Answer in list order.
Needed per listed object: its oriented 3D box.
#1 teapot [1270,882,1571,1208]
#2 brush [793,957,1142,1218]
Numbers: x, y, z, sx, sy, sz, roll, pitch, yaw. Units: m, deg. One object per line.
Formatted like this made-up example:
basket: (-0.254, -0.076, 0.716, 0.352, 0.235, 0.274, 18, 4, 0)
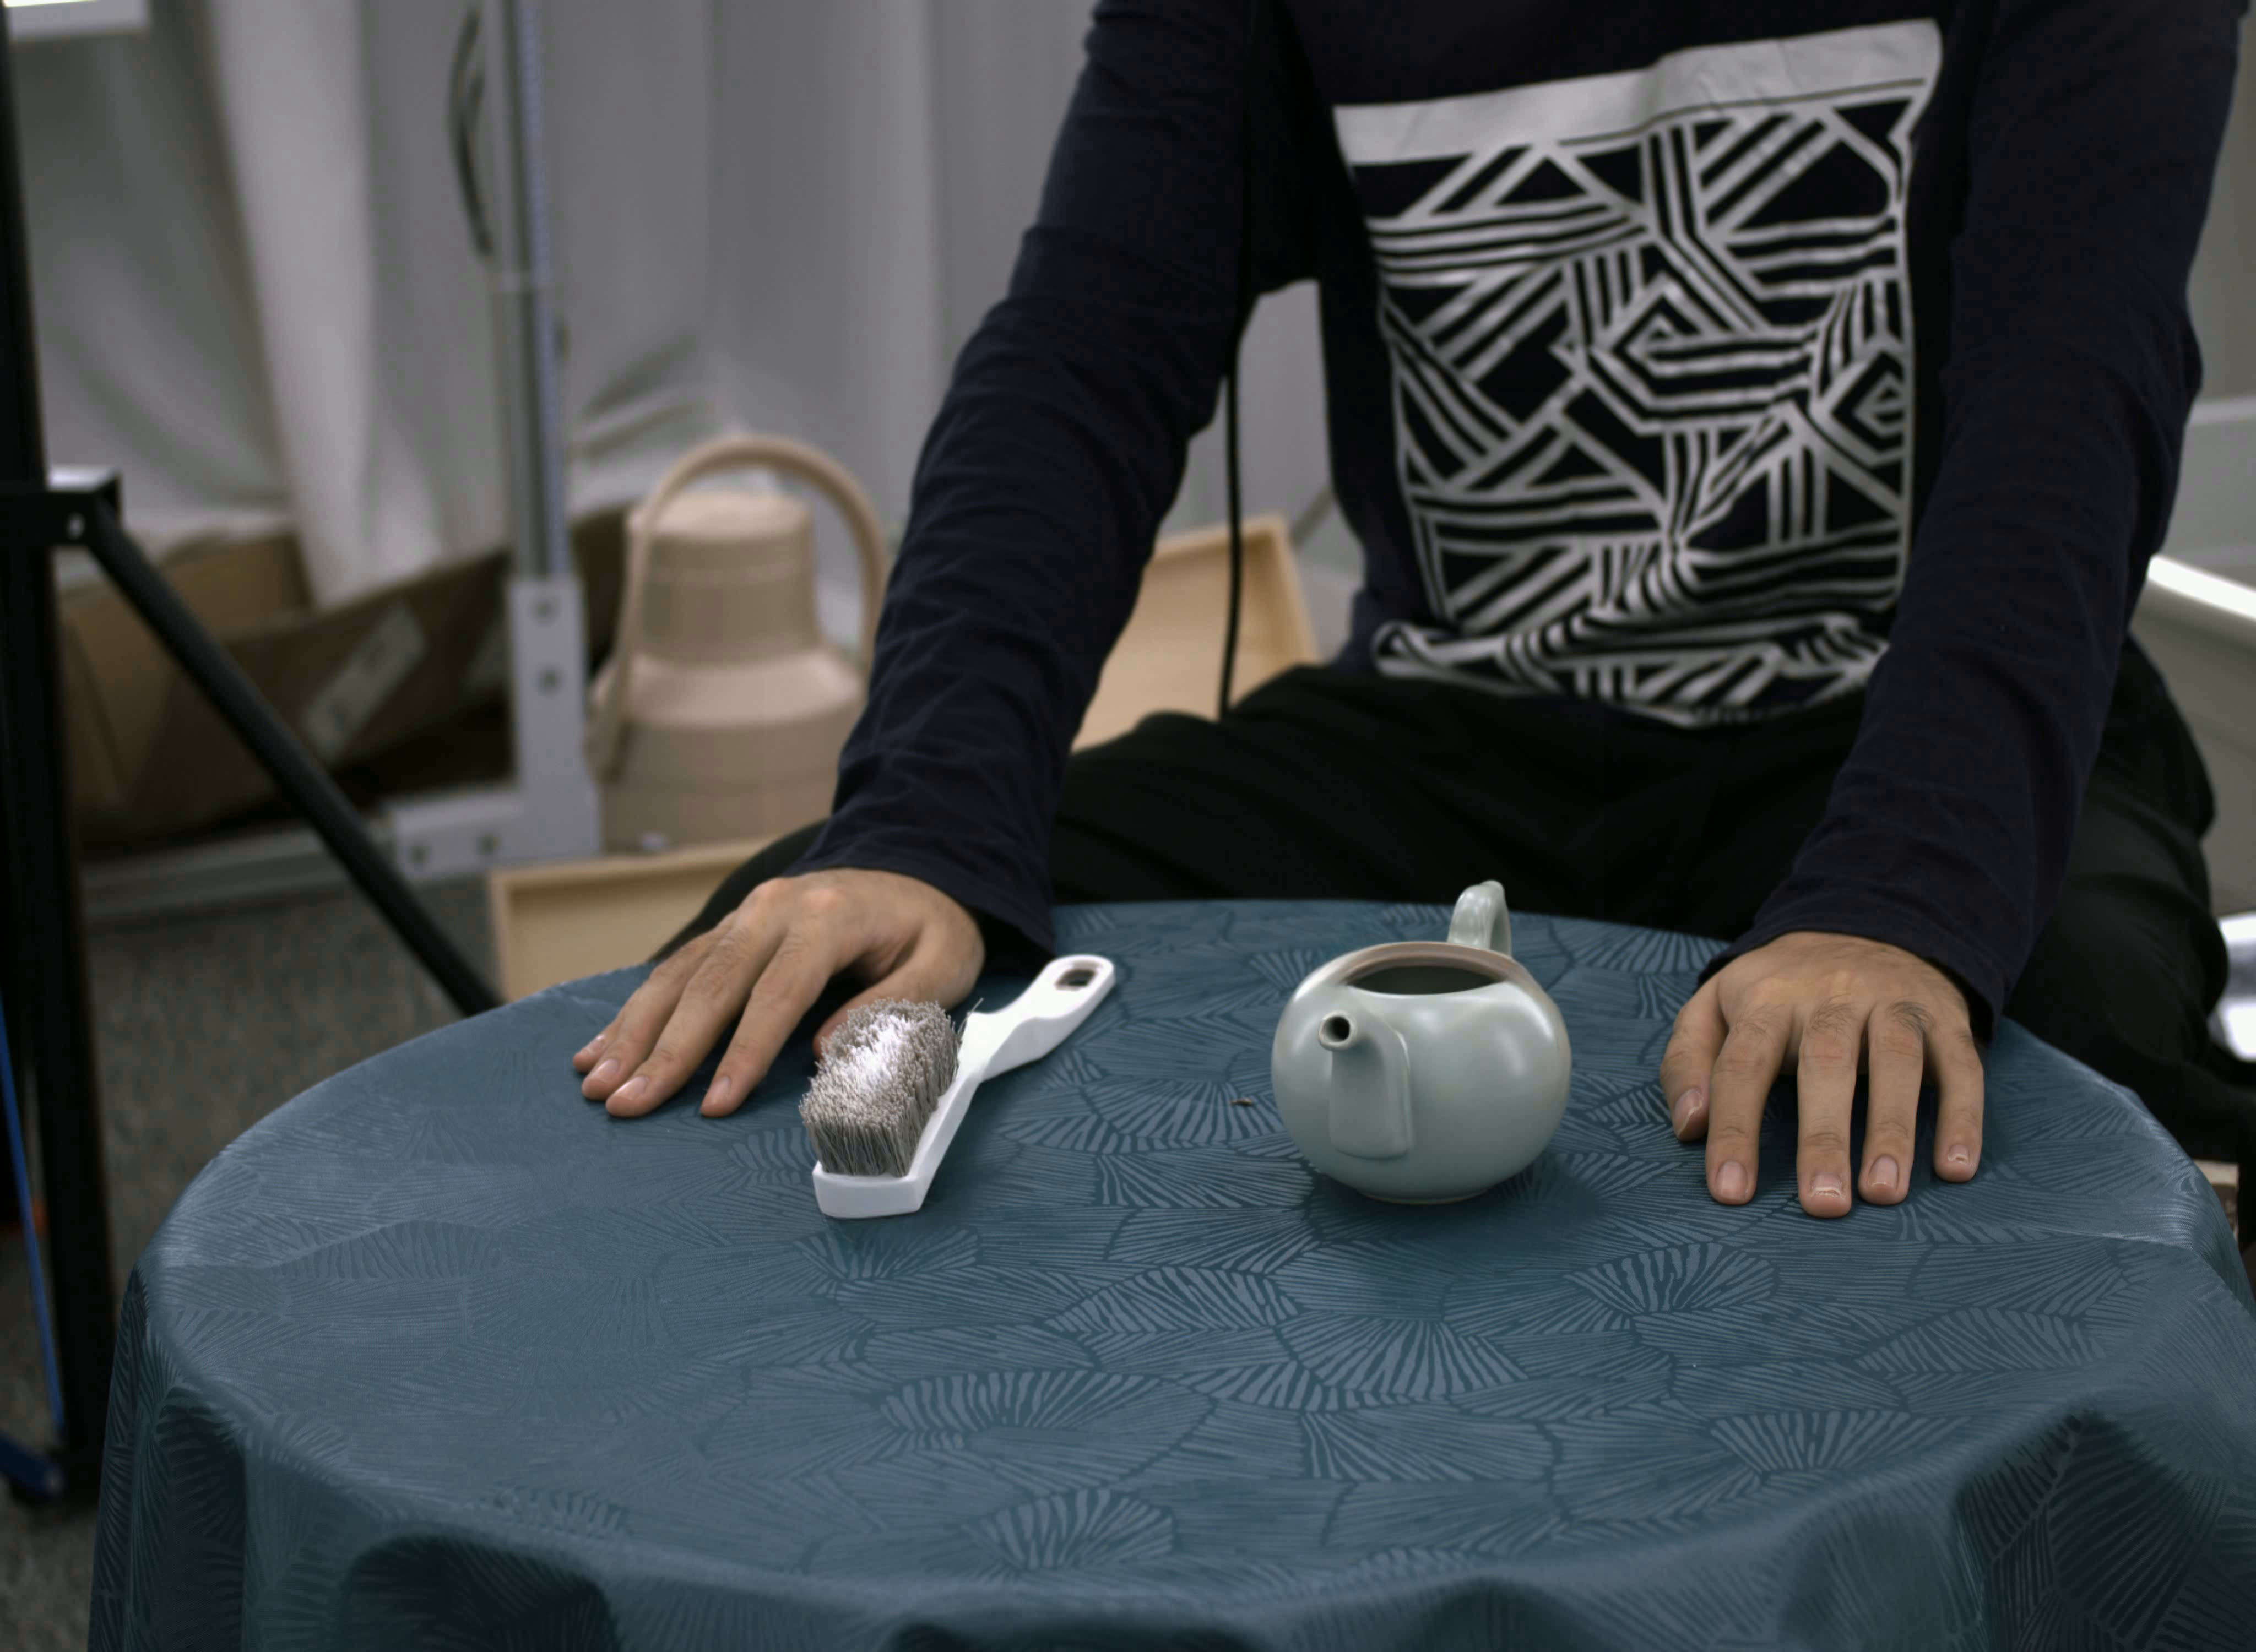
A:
teapot: (0.086, 0.070, 1.550, 0.090, 0.074, 0.142, 4, 18, 26)
brush: (-0.045, 0.061, 1.645, 0.035, 0.050, 0.241, -1, 16, 21)
